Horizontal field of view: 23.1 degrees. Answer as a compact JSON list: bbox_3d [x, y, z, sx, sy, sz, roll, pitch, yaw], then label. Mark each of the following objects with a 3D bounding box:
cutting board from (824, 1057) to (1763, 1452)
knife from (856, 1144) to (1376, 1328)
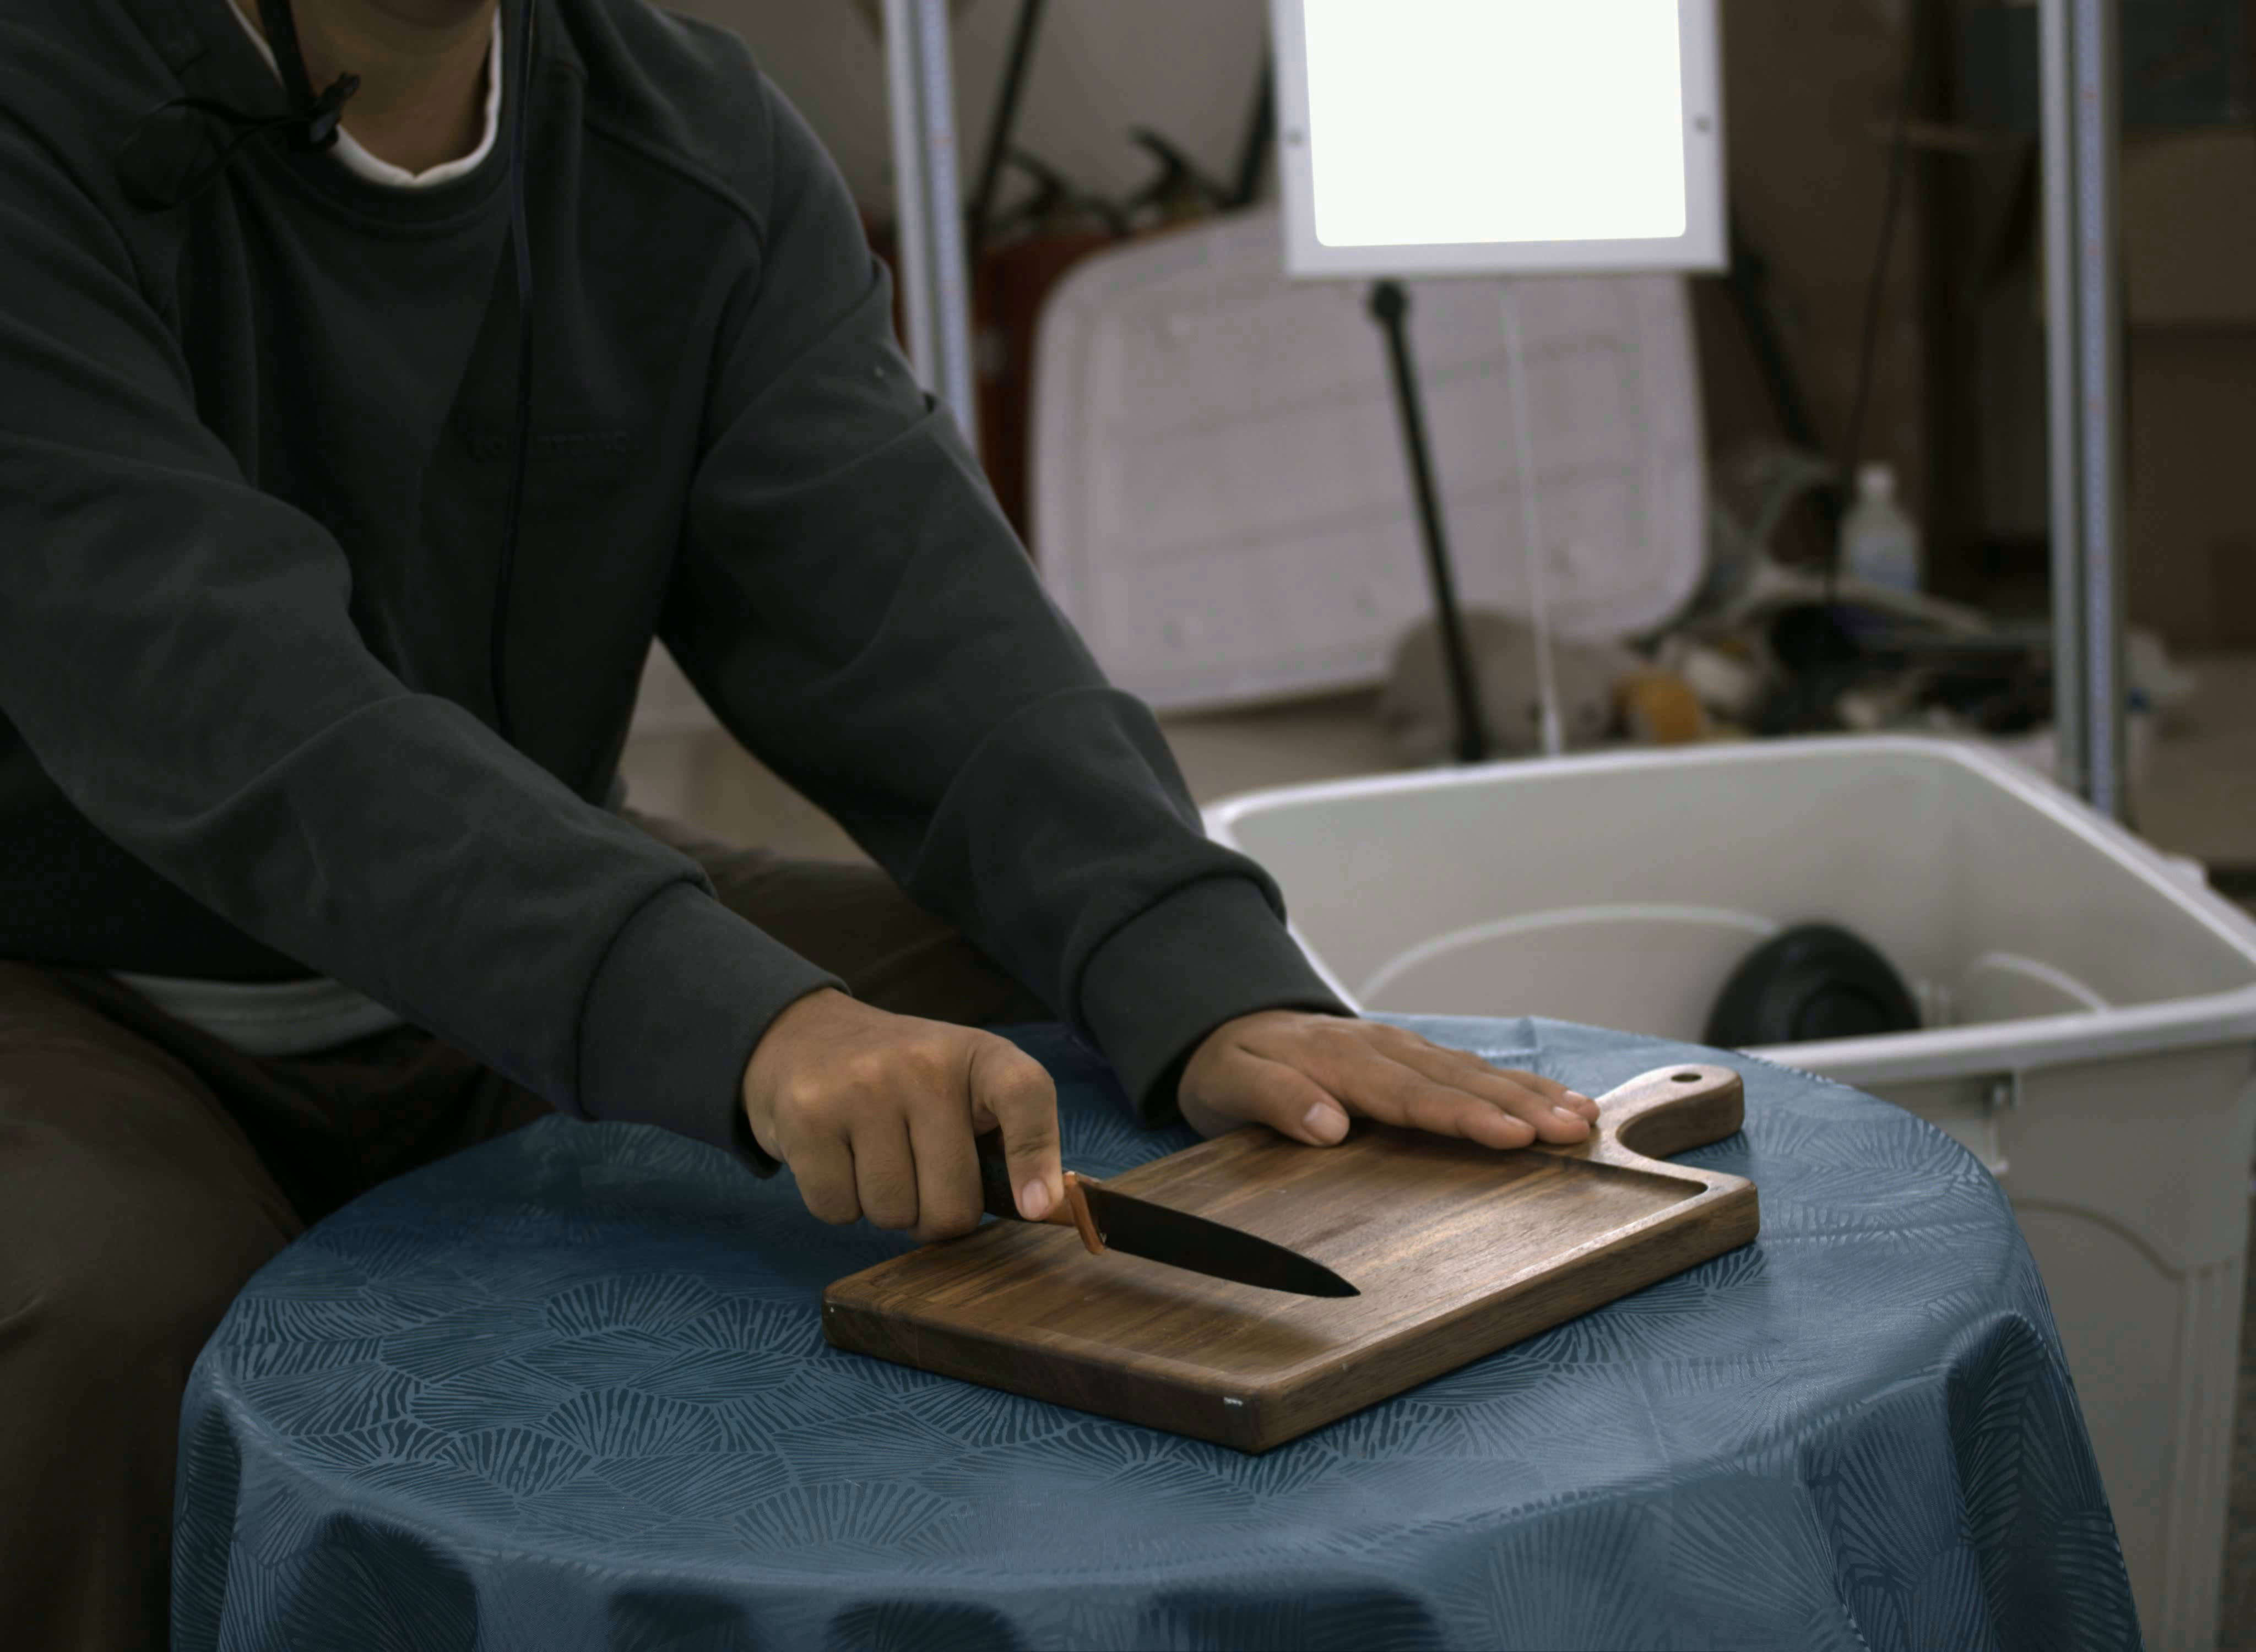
[{"bbox_3d":[0.089,0.129,1.809,0.343,0.023,0.205,-17,18,-42],"label":"cutting board"},{"bbox_3d":[-0.006,0.130,1.765,0.230,0.026,0.017,11,30,43],"label":"knife"}]
